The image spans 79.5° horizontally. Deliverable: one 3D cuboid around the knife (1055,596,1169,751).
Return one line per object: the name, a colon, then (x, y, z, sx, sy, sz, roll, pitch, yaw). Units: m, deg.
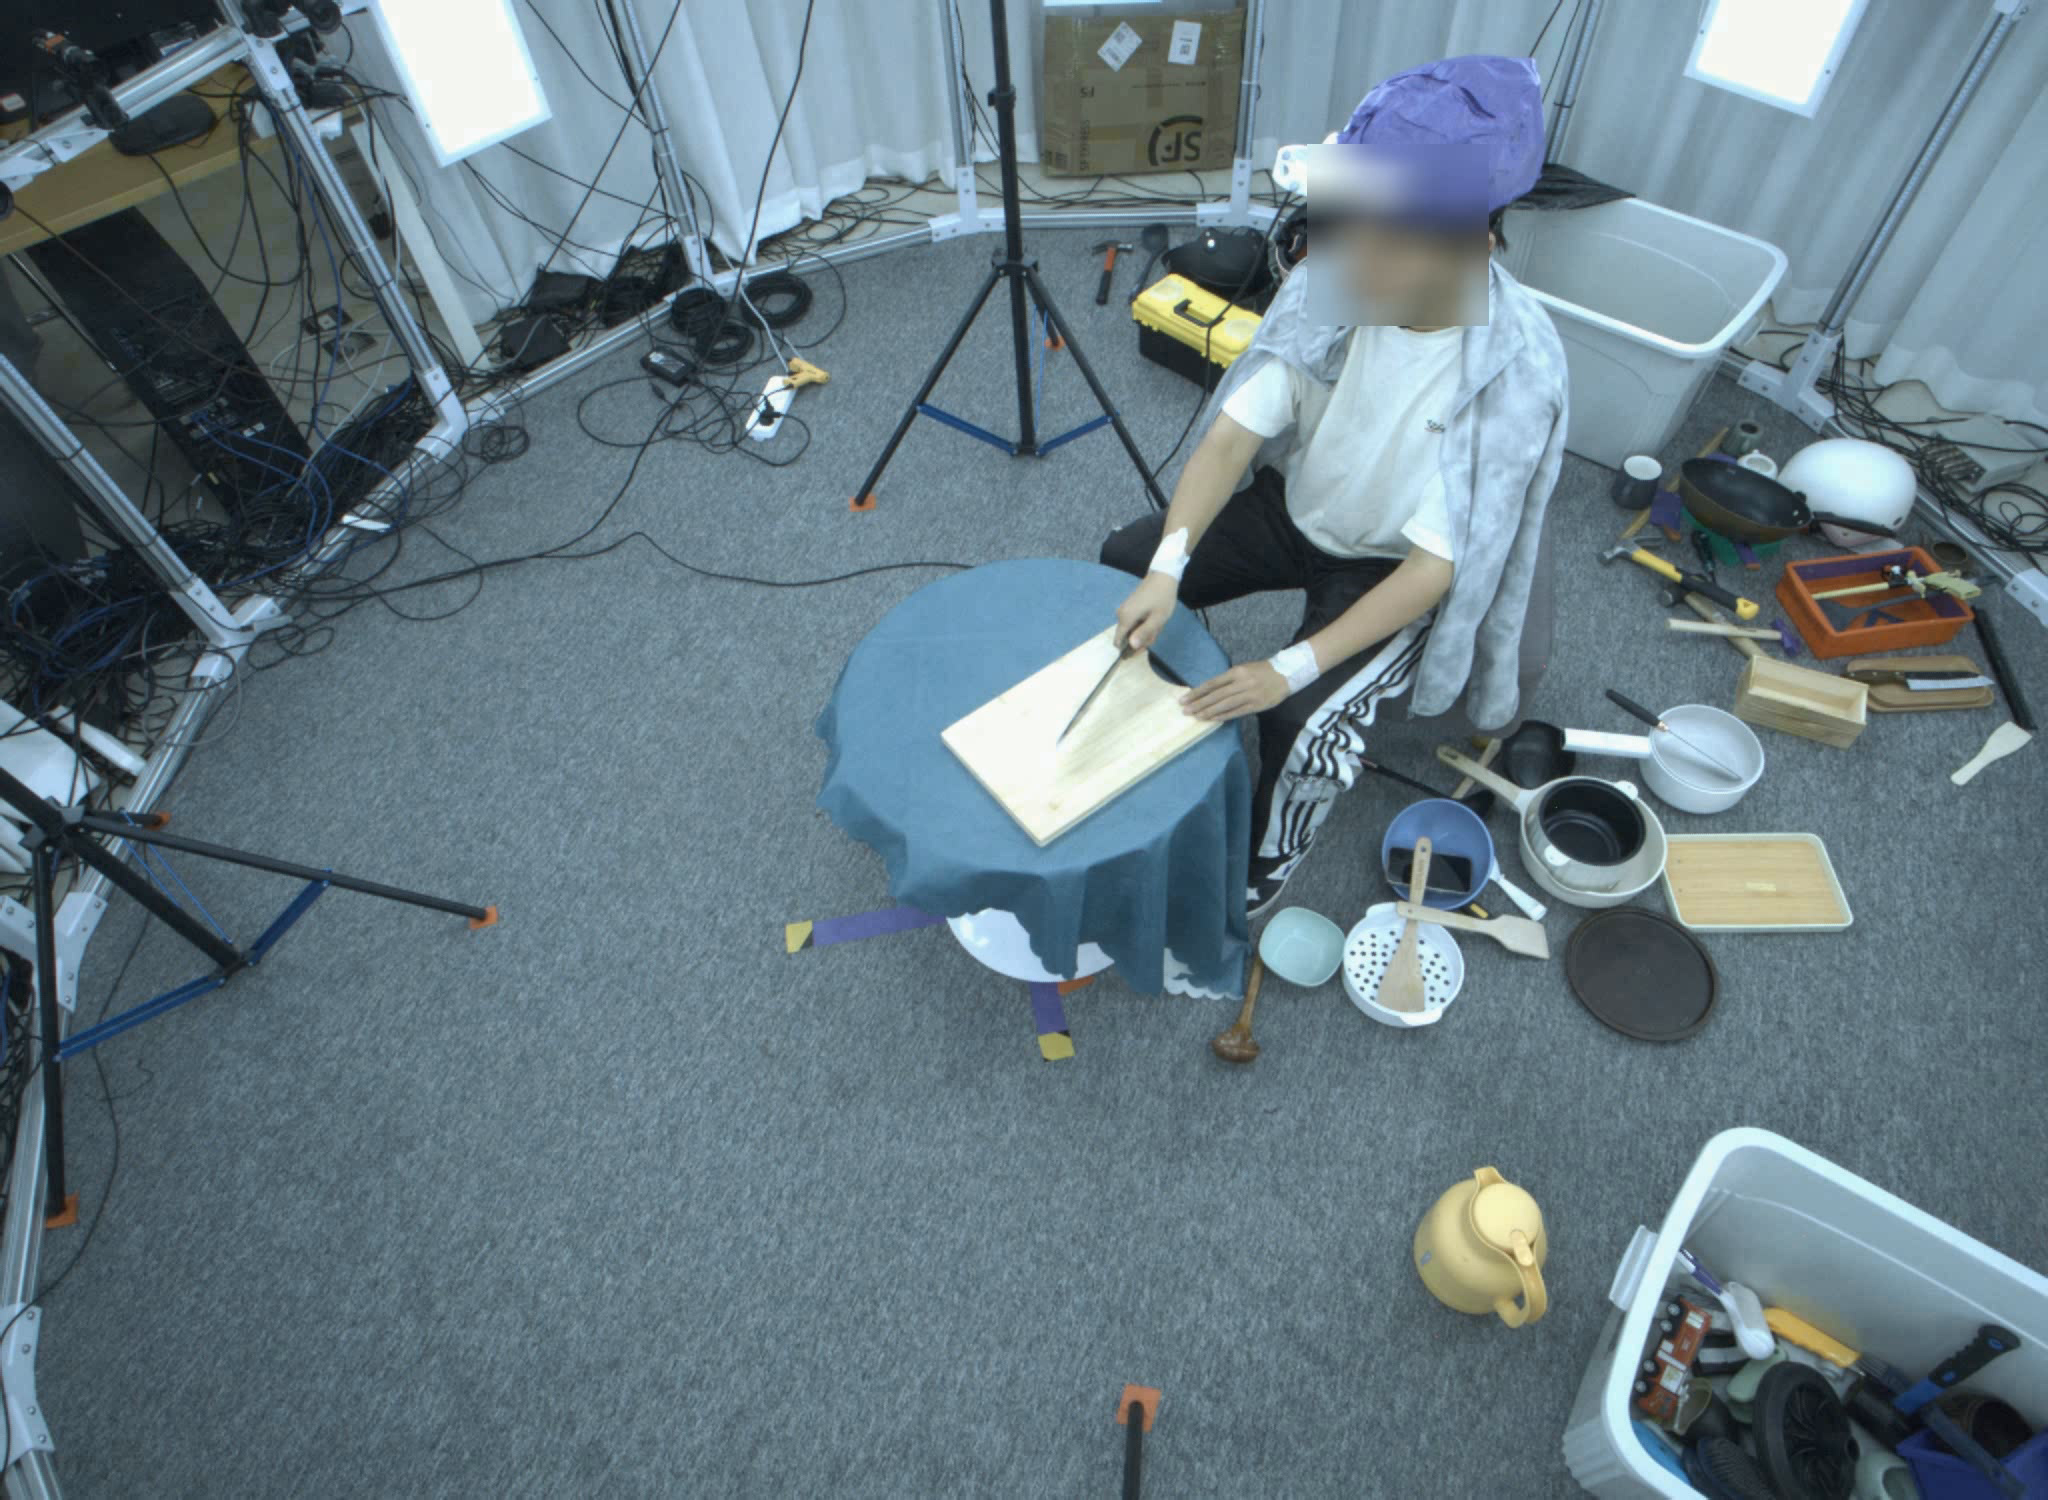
knife: (0.127, -0.112, 1.779, 0.024, 0.068, 0.300, 34, 61, 7)

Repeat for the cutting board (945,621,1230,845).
cutting board: (0.090, -0.035, 1.801, 0.351, 0.024, 0.246, -34, 61, -20)
